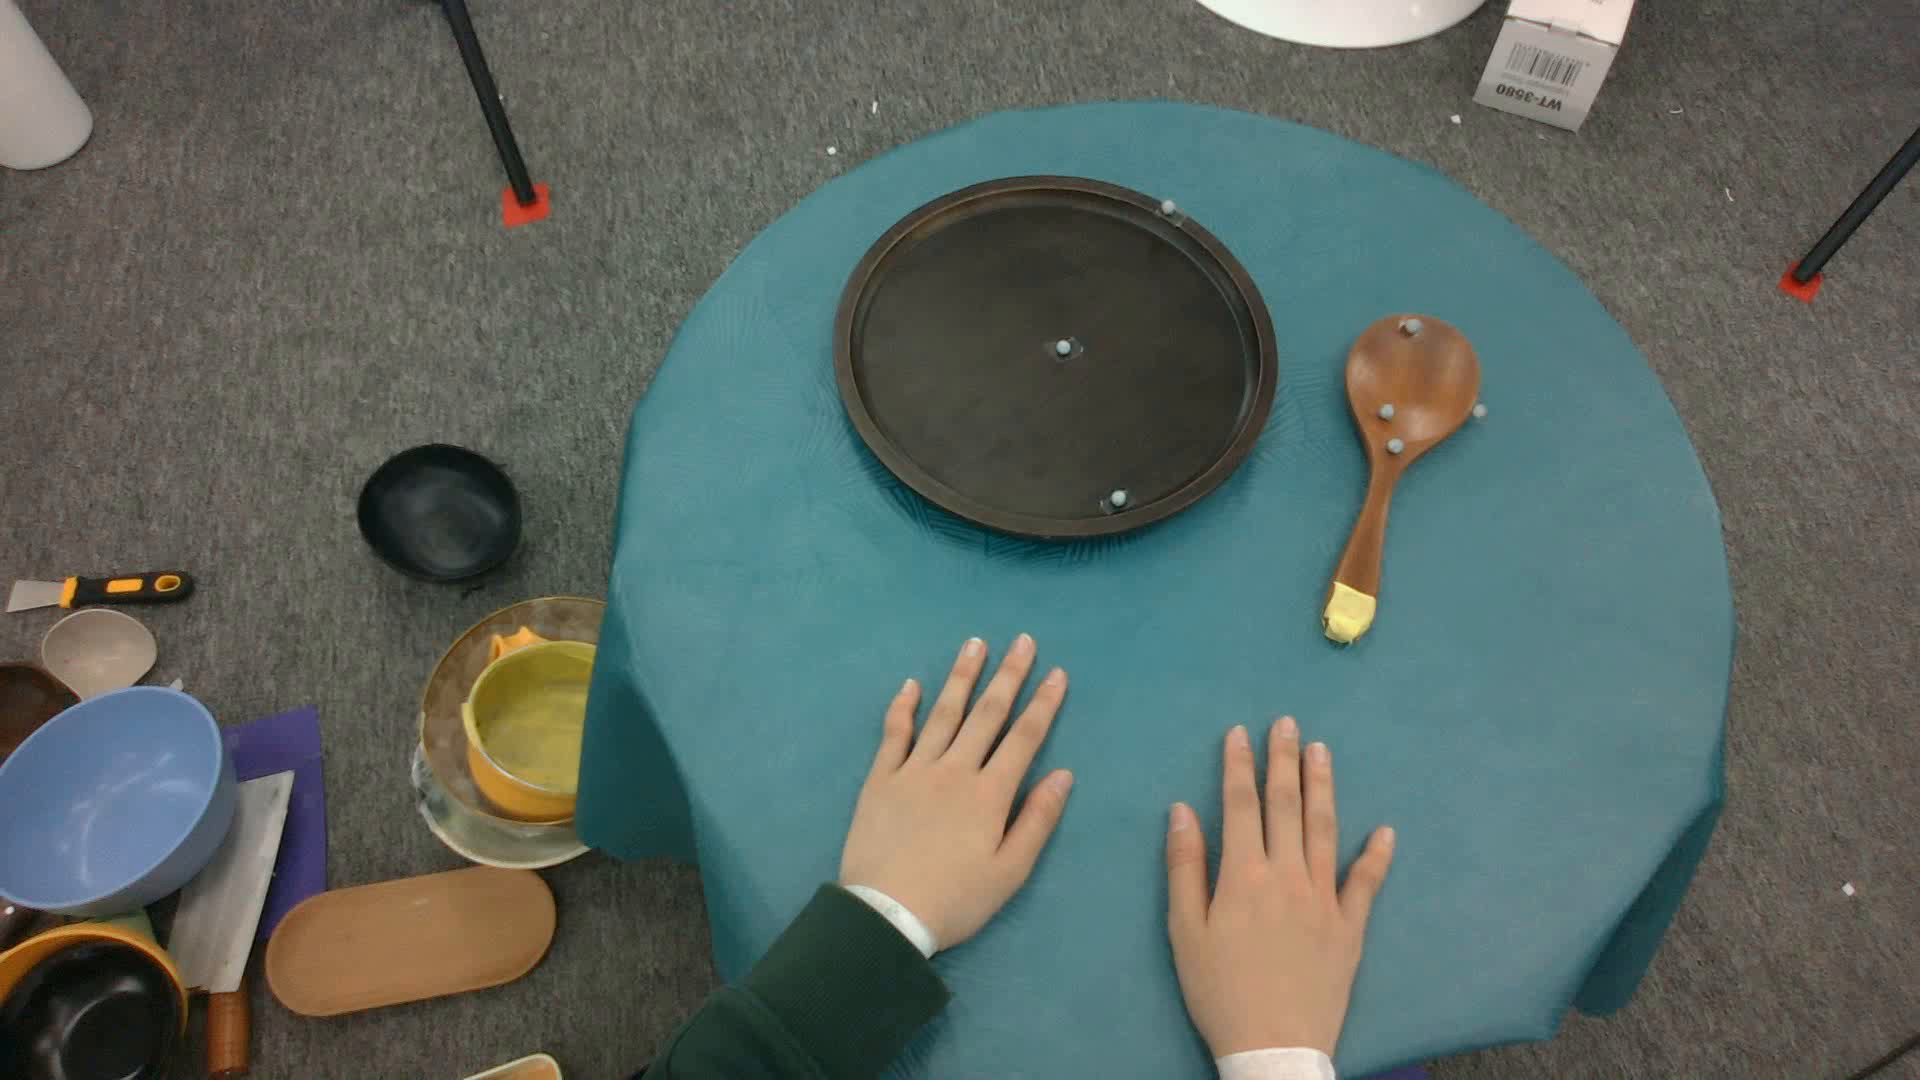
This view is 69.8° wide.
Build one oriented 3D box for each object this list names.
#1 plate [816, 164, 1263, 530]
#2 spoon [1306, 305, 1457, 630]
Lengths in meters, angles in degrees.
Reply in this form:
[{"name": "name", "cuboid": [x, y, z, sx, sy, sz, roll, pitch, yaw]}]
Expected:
[{"name": "plate", "cuboid": [0.045, -0.114, 0.785, 0.255, 0.029, 0.256, 1, 59, -1]}, {"name": "spoon", "cuboid": [0.224, -0.044, 0.756, 0.075, 0.017, 0.217, 18, 61, 7]}]
